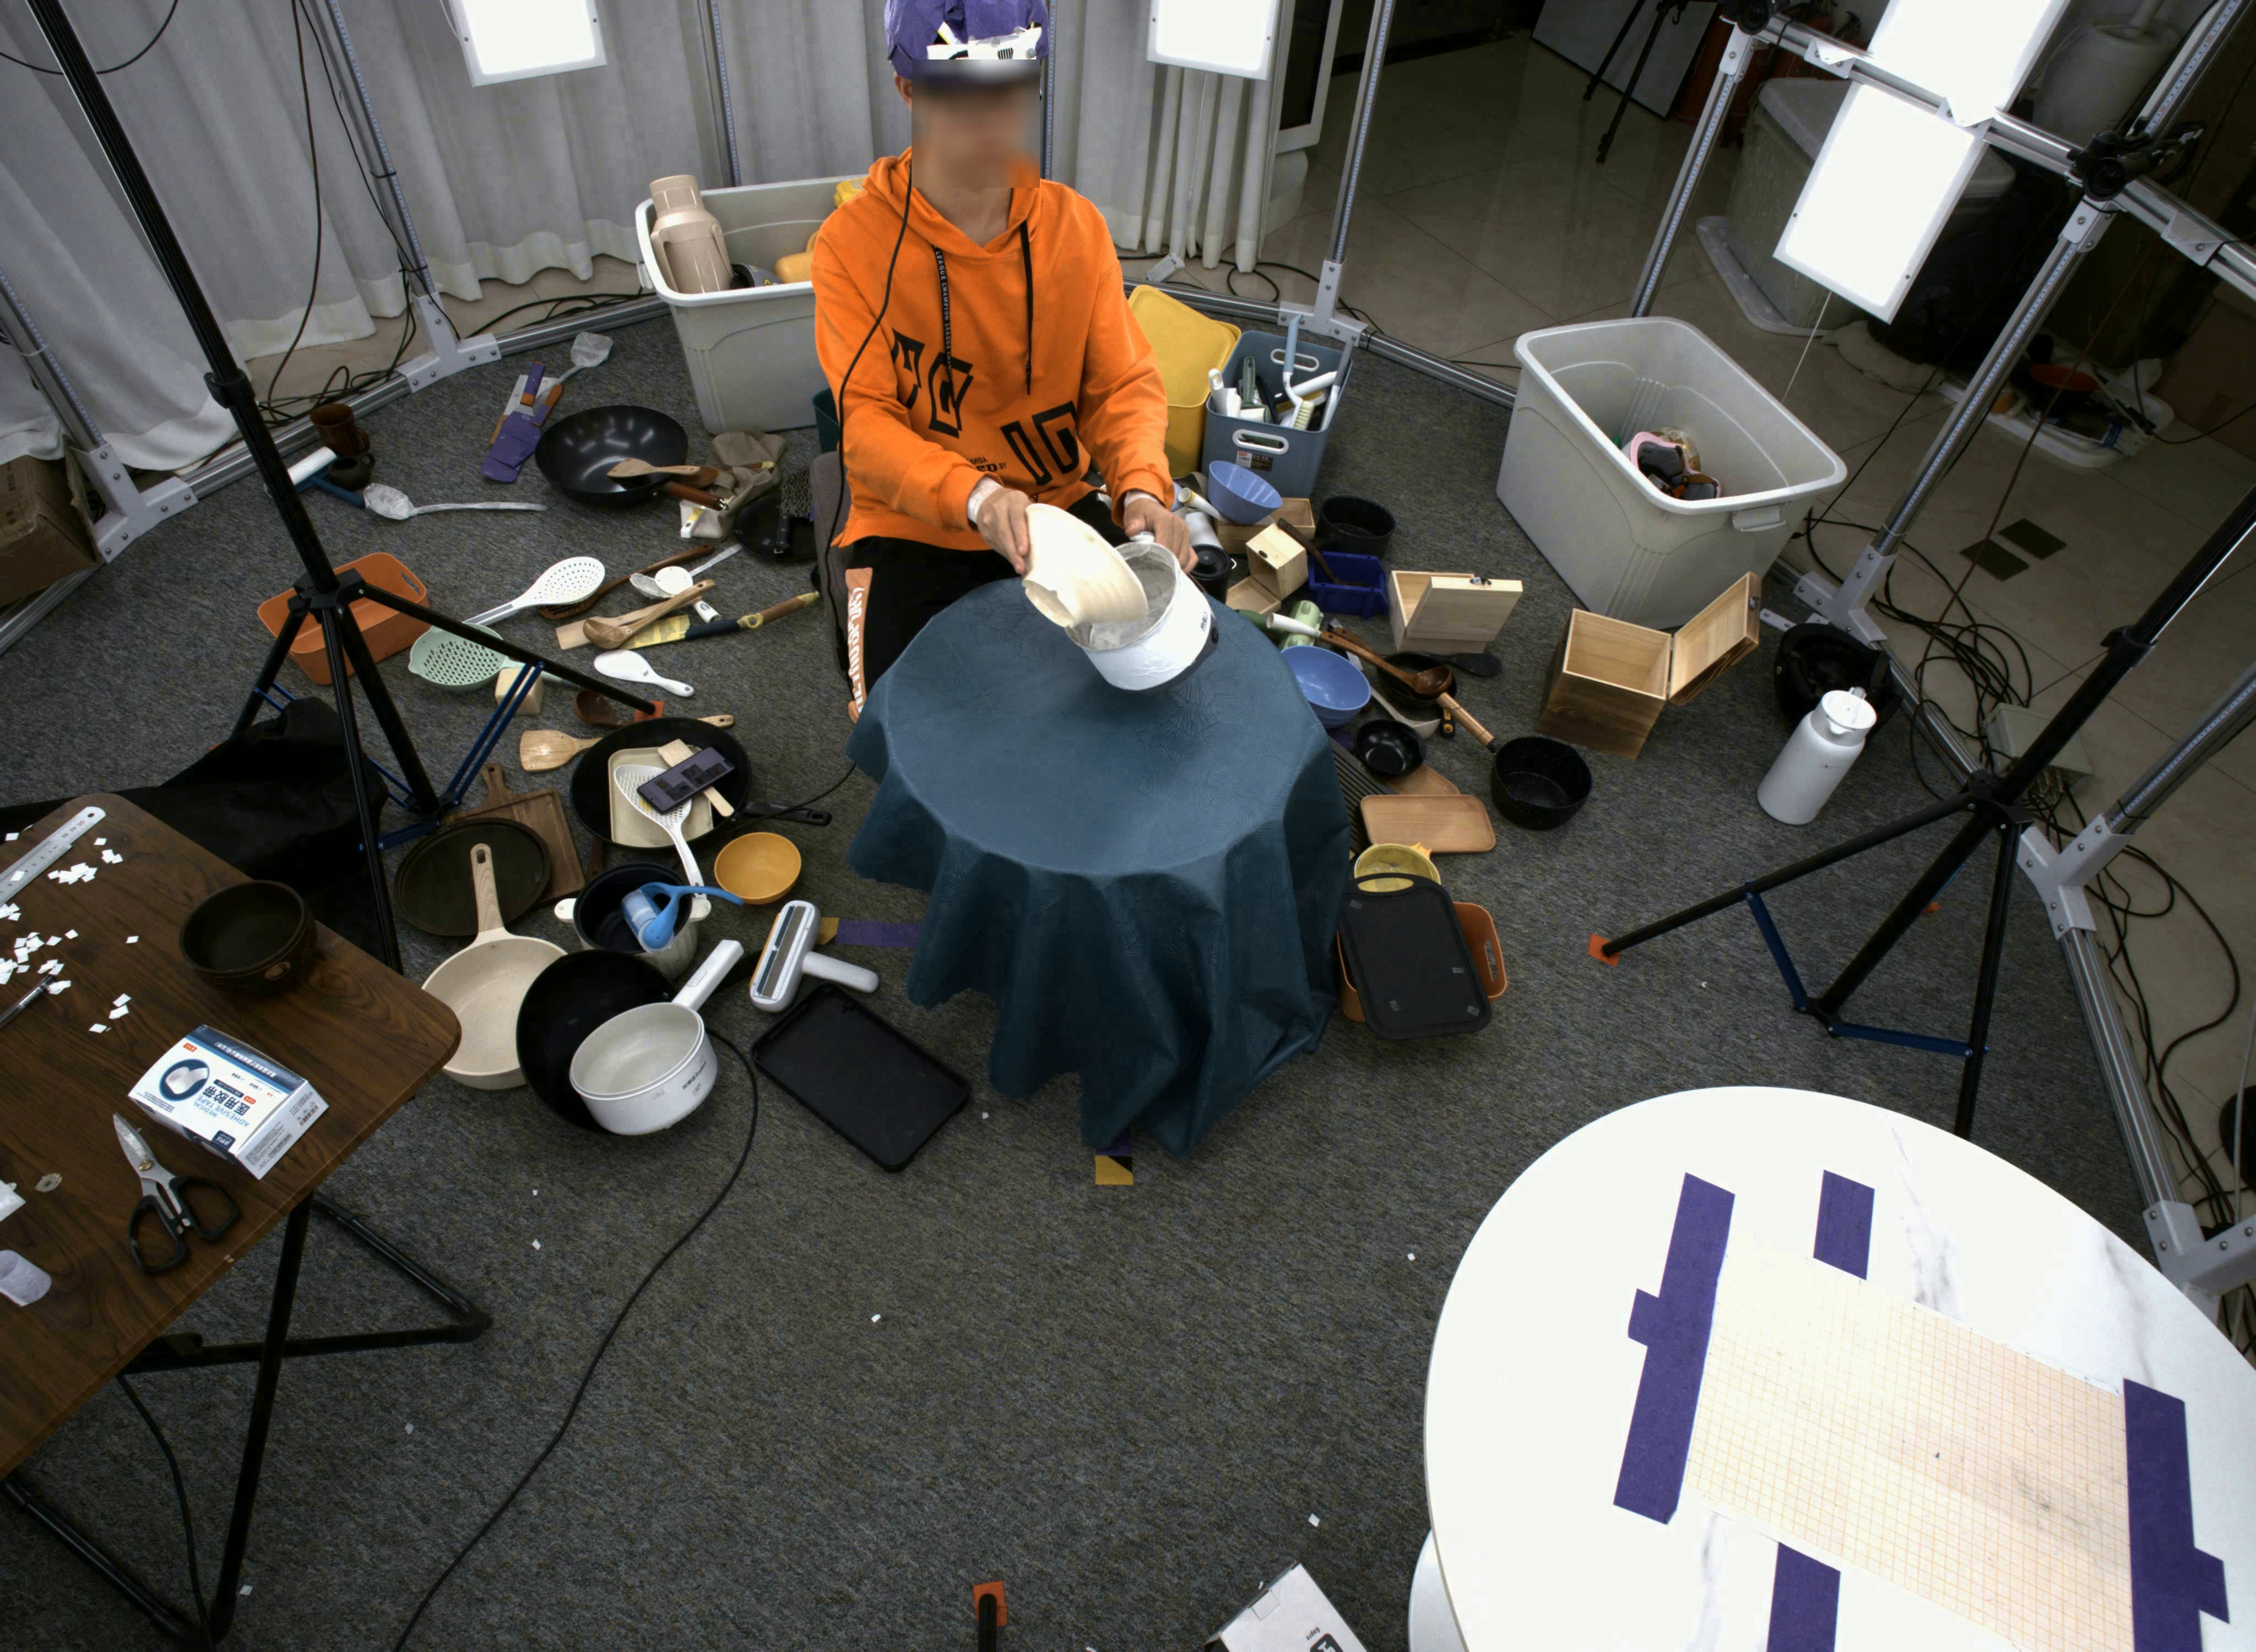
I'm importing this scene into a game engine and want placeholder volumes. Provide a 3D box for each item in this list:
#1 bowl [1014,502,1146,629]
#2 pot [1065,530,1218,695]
[{"bbox_3d":[-0.081,-0.305,1.621,0.206,0.200,0.078,31,73,20],"label":"bowl"},{"bbox_3d":[0.023,-0.303,1.762,0.179,0.134,0.238,-6,59,27],"label":"pot"}]
